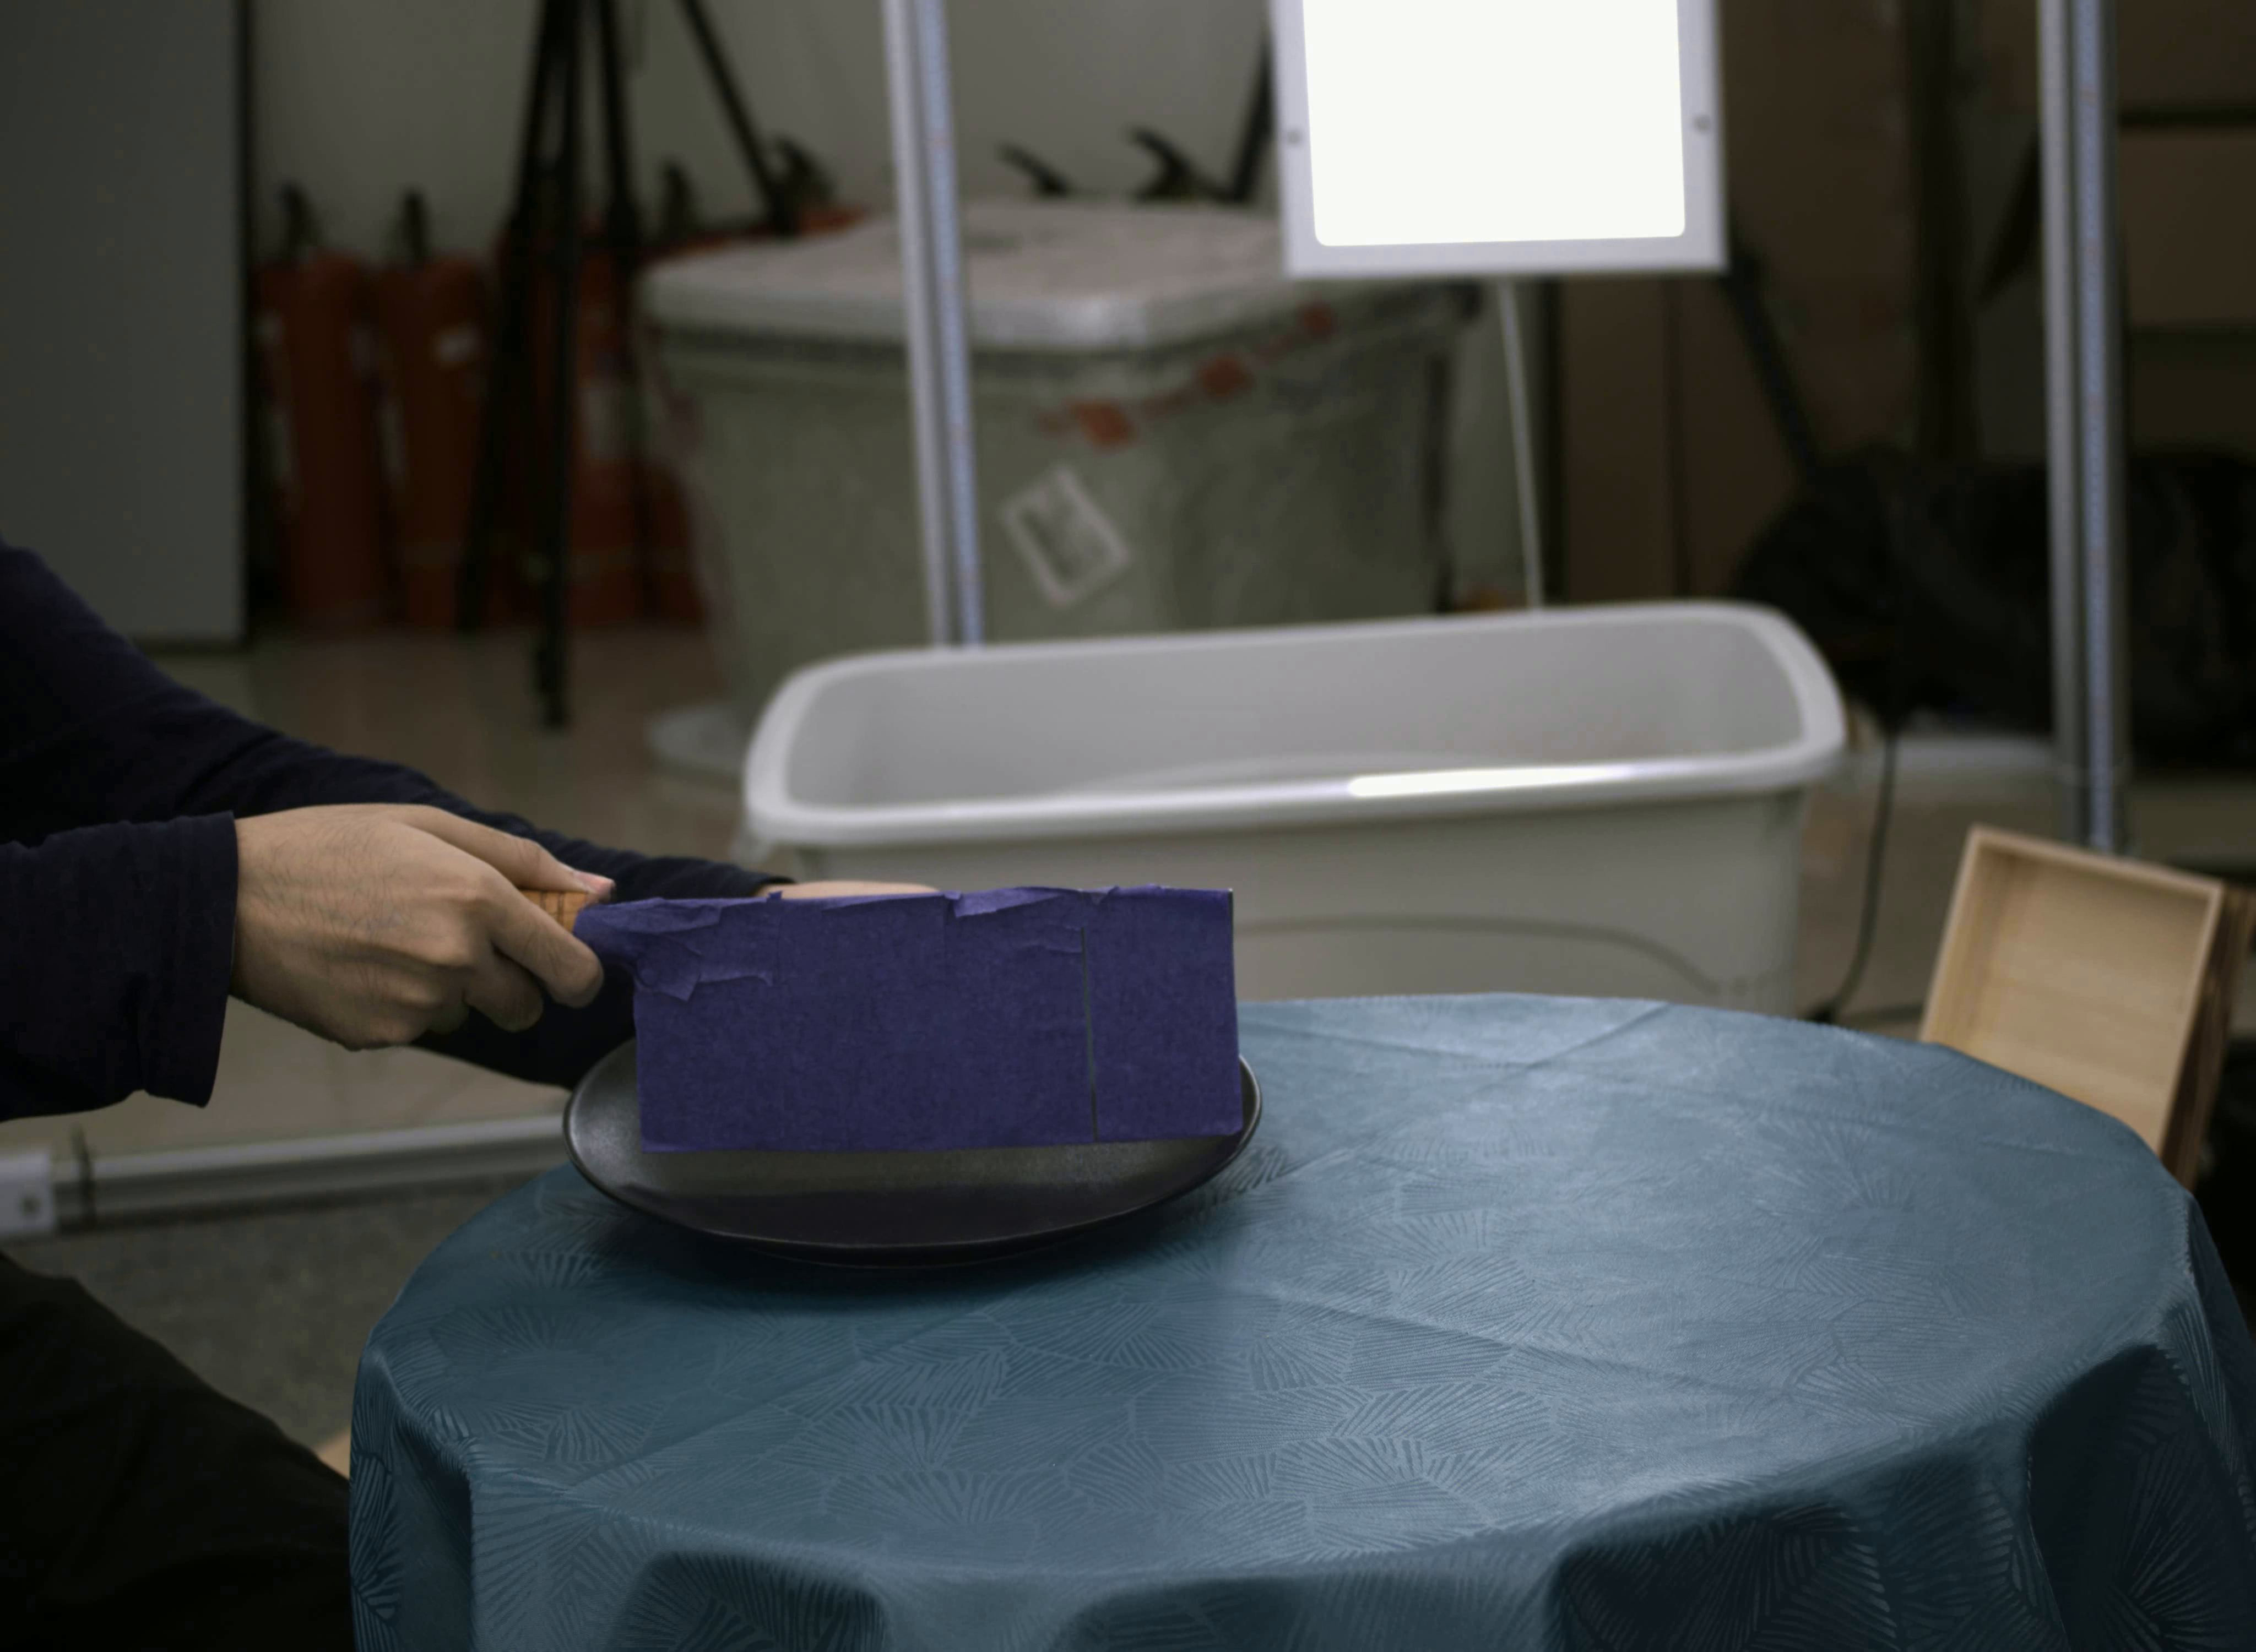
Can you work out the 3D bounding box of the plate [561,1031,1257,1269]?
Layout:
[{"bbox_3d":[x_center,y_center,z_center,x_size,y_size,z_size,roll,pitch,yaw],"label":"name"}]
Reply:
[{"bbox_3d":[-0.076,0.106,1.922,0.244,0.023,0.244,-4,21,0],"label":"plate"}]

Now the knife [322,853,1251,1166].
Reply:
[{"bbox_3d":[-0.116,0.067,1.879,0.315,0.104,0.032,-2,12,5],"label":"knife"}]
